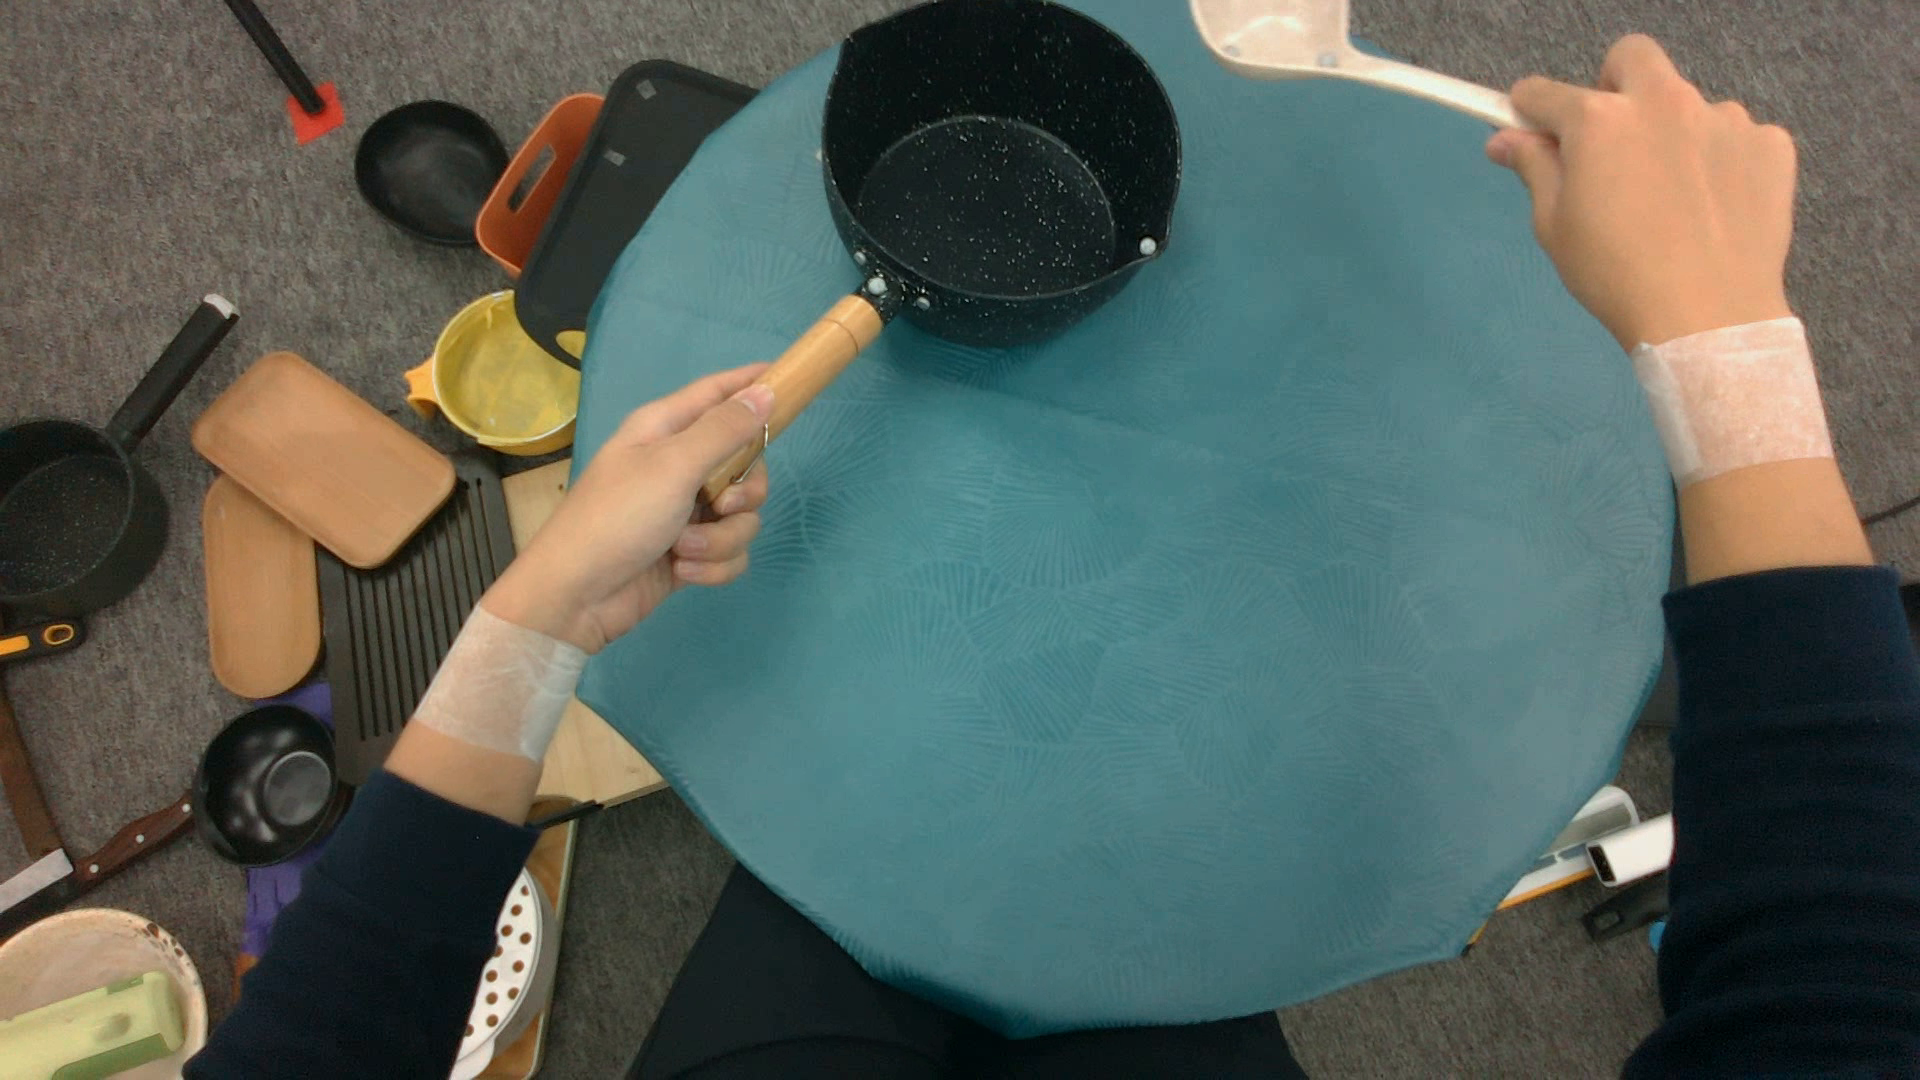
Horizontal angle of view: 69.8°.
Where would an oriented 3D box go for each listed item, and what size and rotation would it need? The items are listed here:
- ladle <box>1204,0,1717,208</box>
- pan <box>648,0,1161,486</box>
[{"bbox_3d":[0.217,-0.220,0.615,0.089,0.069,0.275,-28,40,-17],"label":"ladle"},{"bbox_3d":[-0.035,-0.141,0.698,0.207,0.108,0.344,34,69,5],"label":"pan"}]
